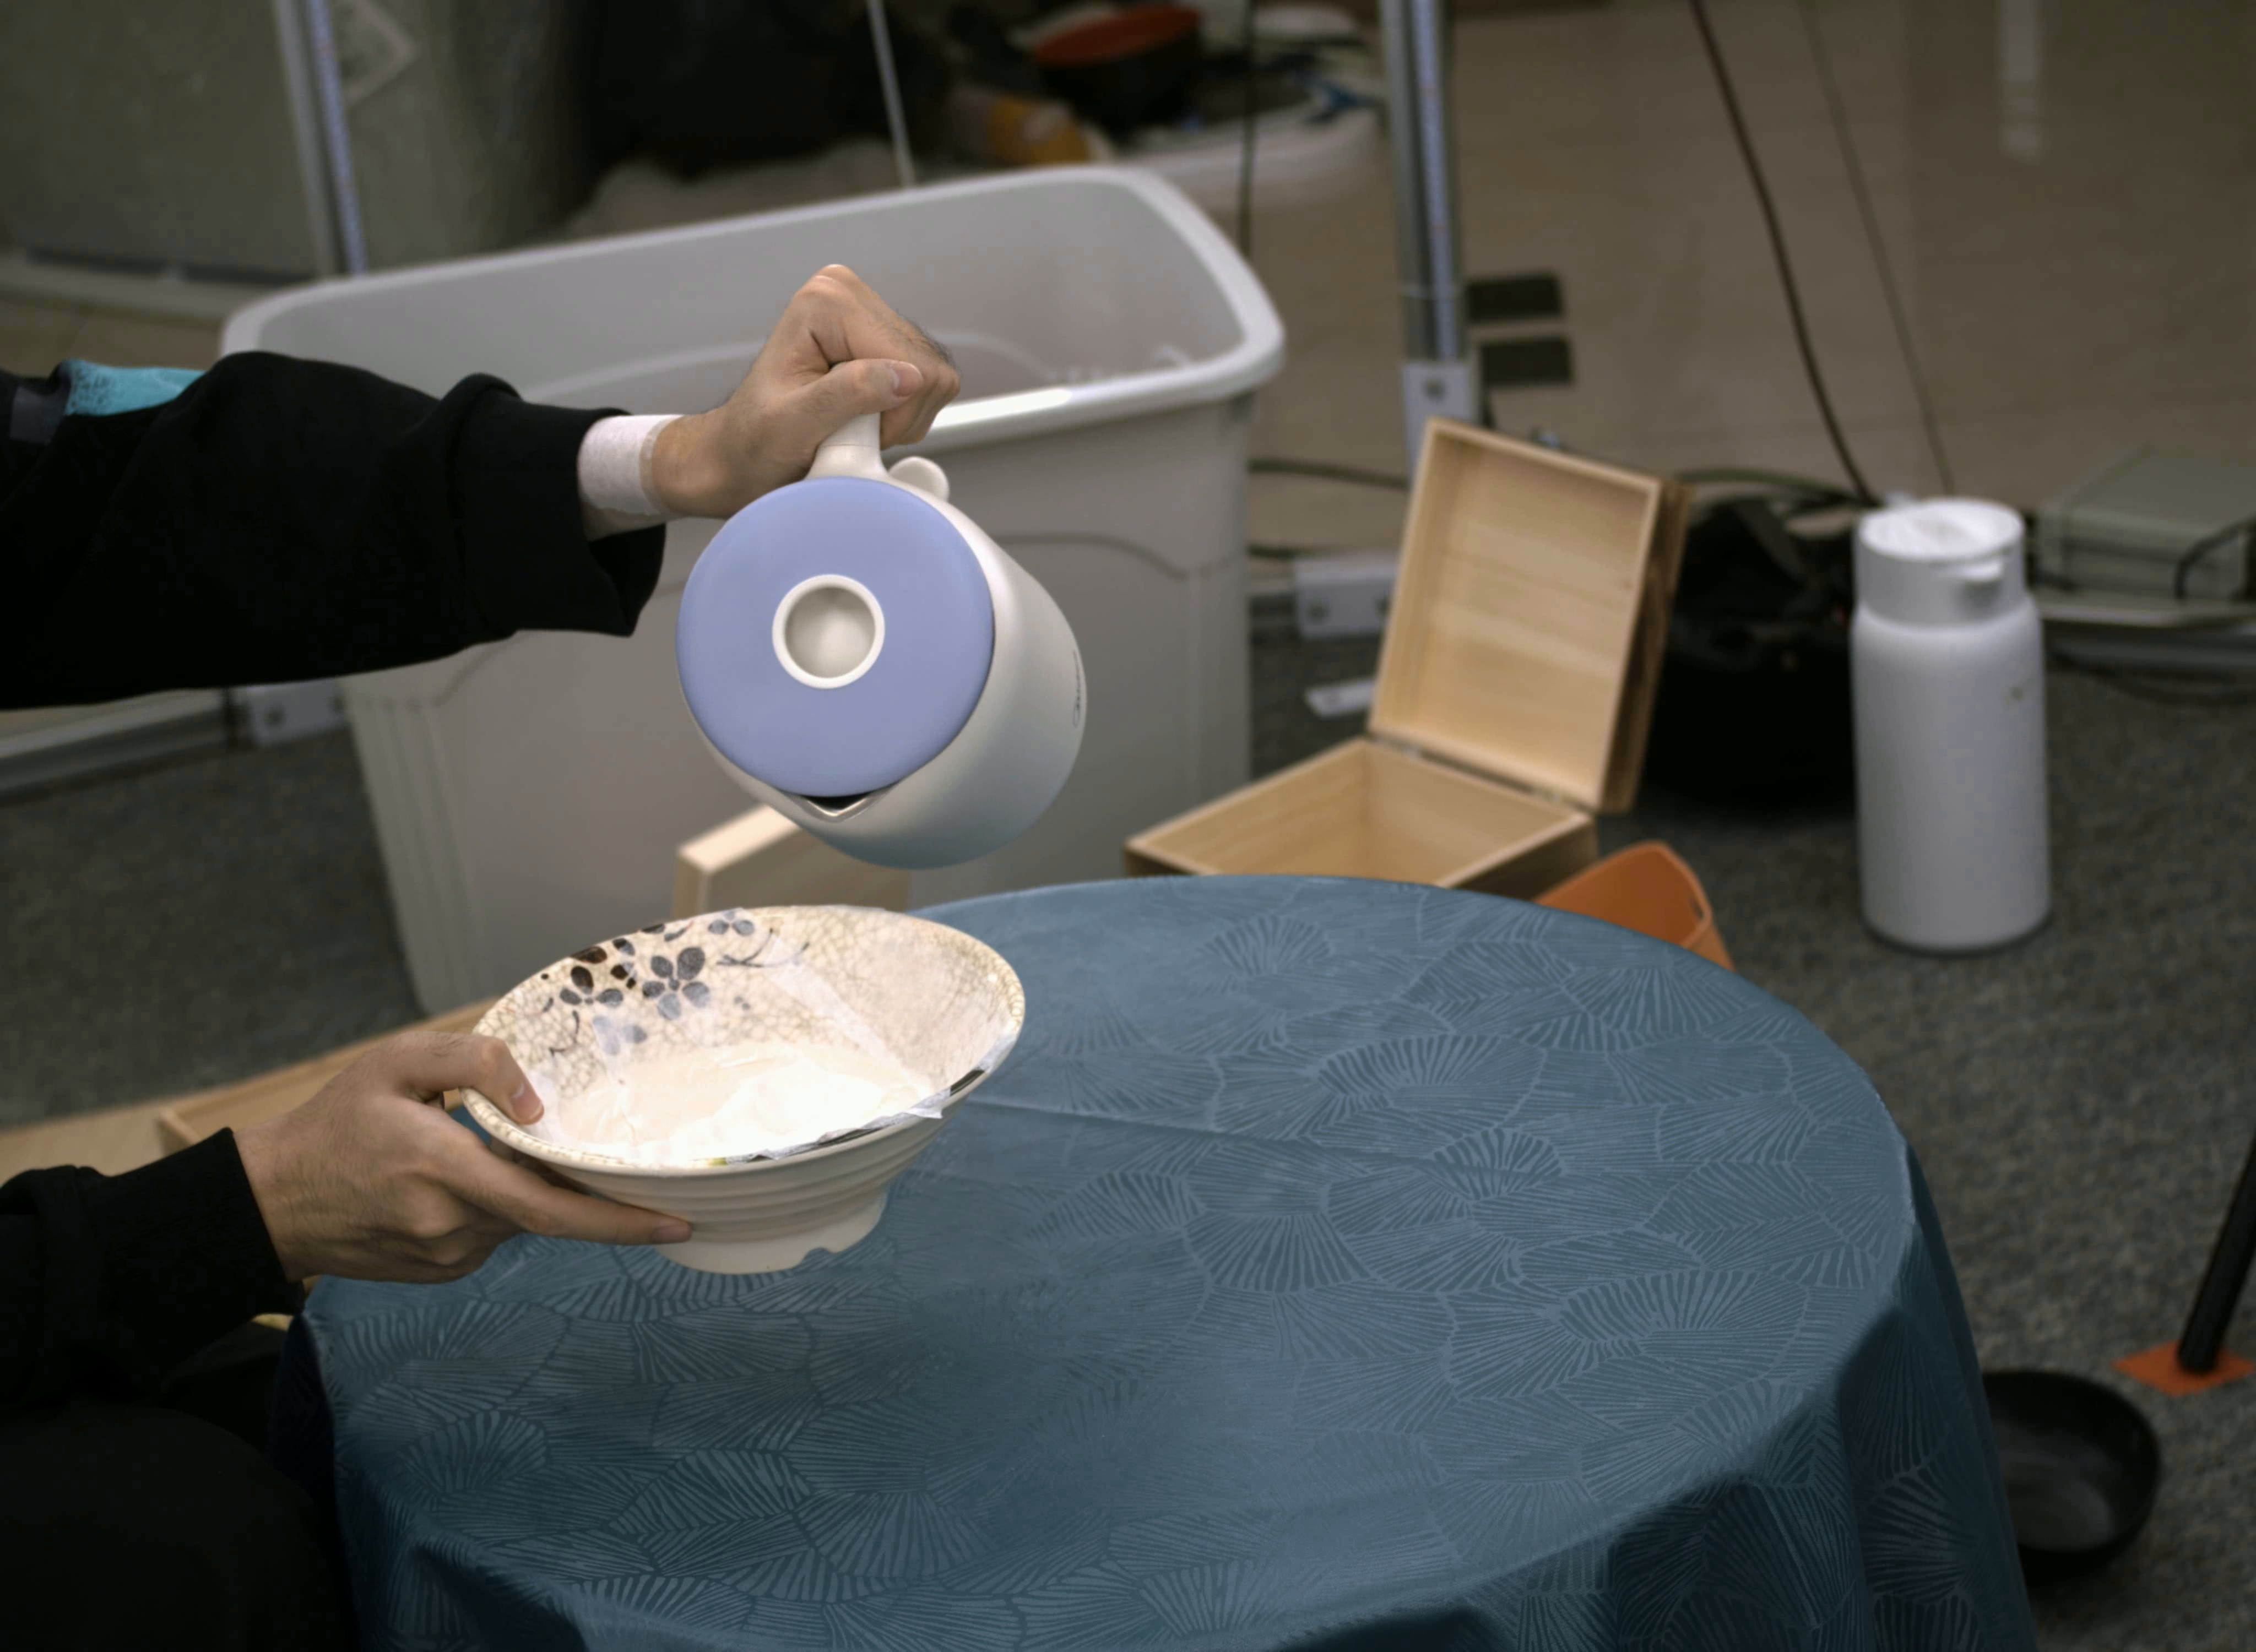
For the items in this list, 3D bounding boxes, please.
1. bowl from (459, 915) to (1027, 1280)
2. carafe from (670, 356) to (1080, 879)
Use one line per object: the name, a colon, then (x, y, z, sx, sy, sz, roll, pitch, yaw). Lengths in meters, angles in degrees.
bowl: (-0.131, 0.107, 2.020, 0.204, 0.079, 0.201, -7, 23, 3)
carafe: (-0.095, -0.081, 2.128, 0.132, 0.190, 0.184, -4, -11, 8)
